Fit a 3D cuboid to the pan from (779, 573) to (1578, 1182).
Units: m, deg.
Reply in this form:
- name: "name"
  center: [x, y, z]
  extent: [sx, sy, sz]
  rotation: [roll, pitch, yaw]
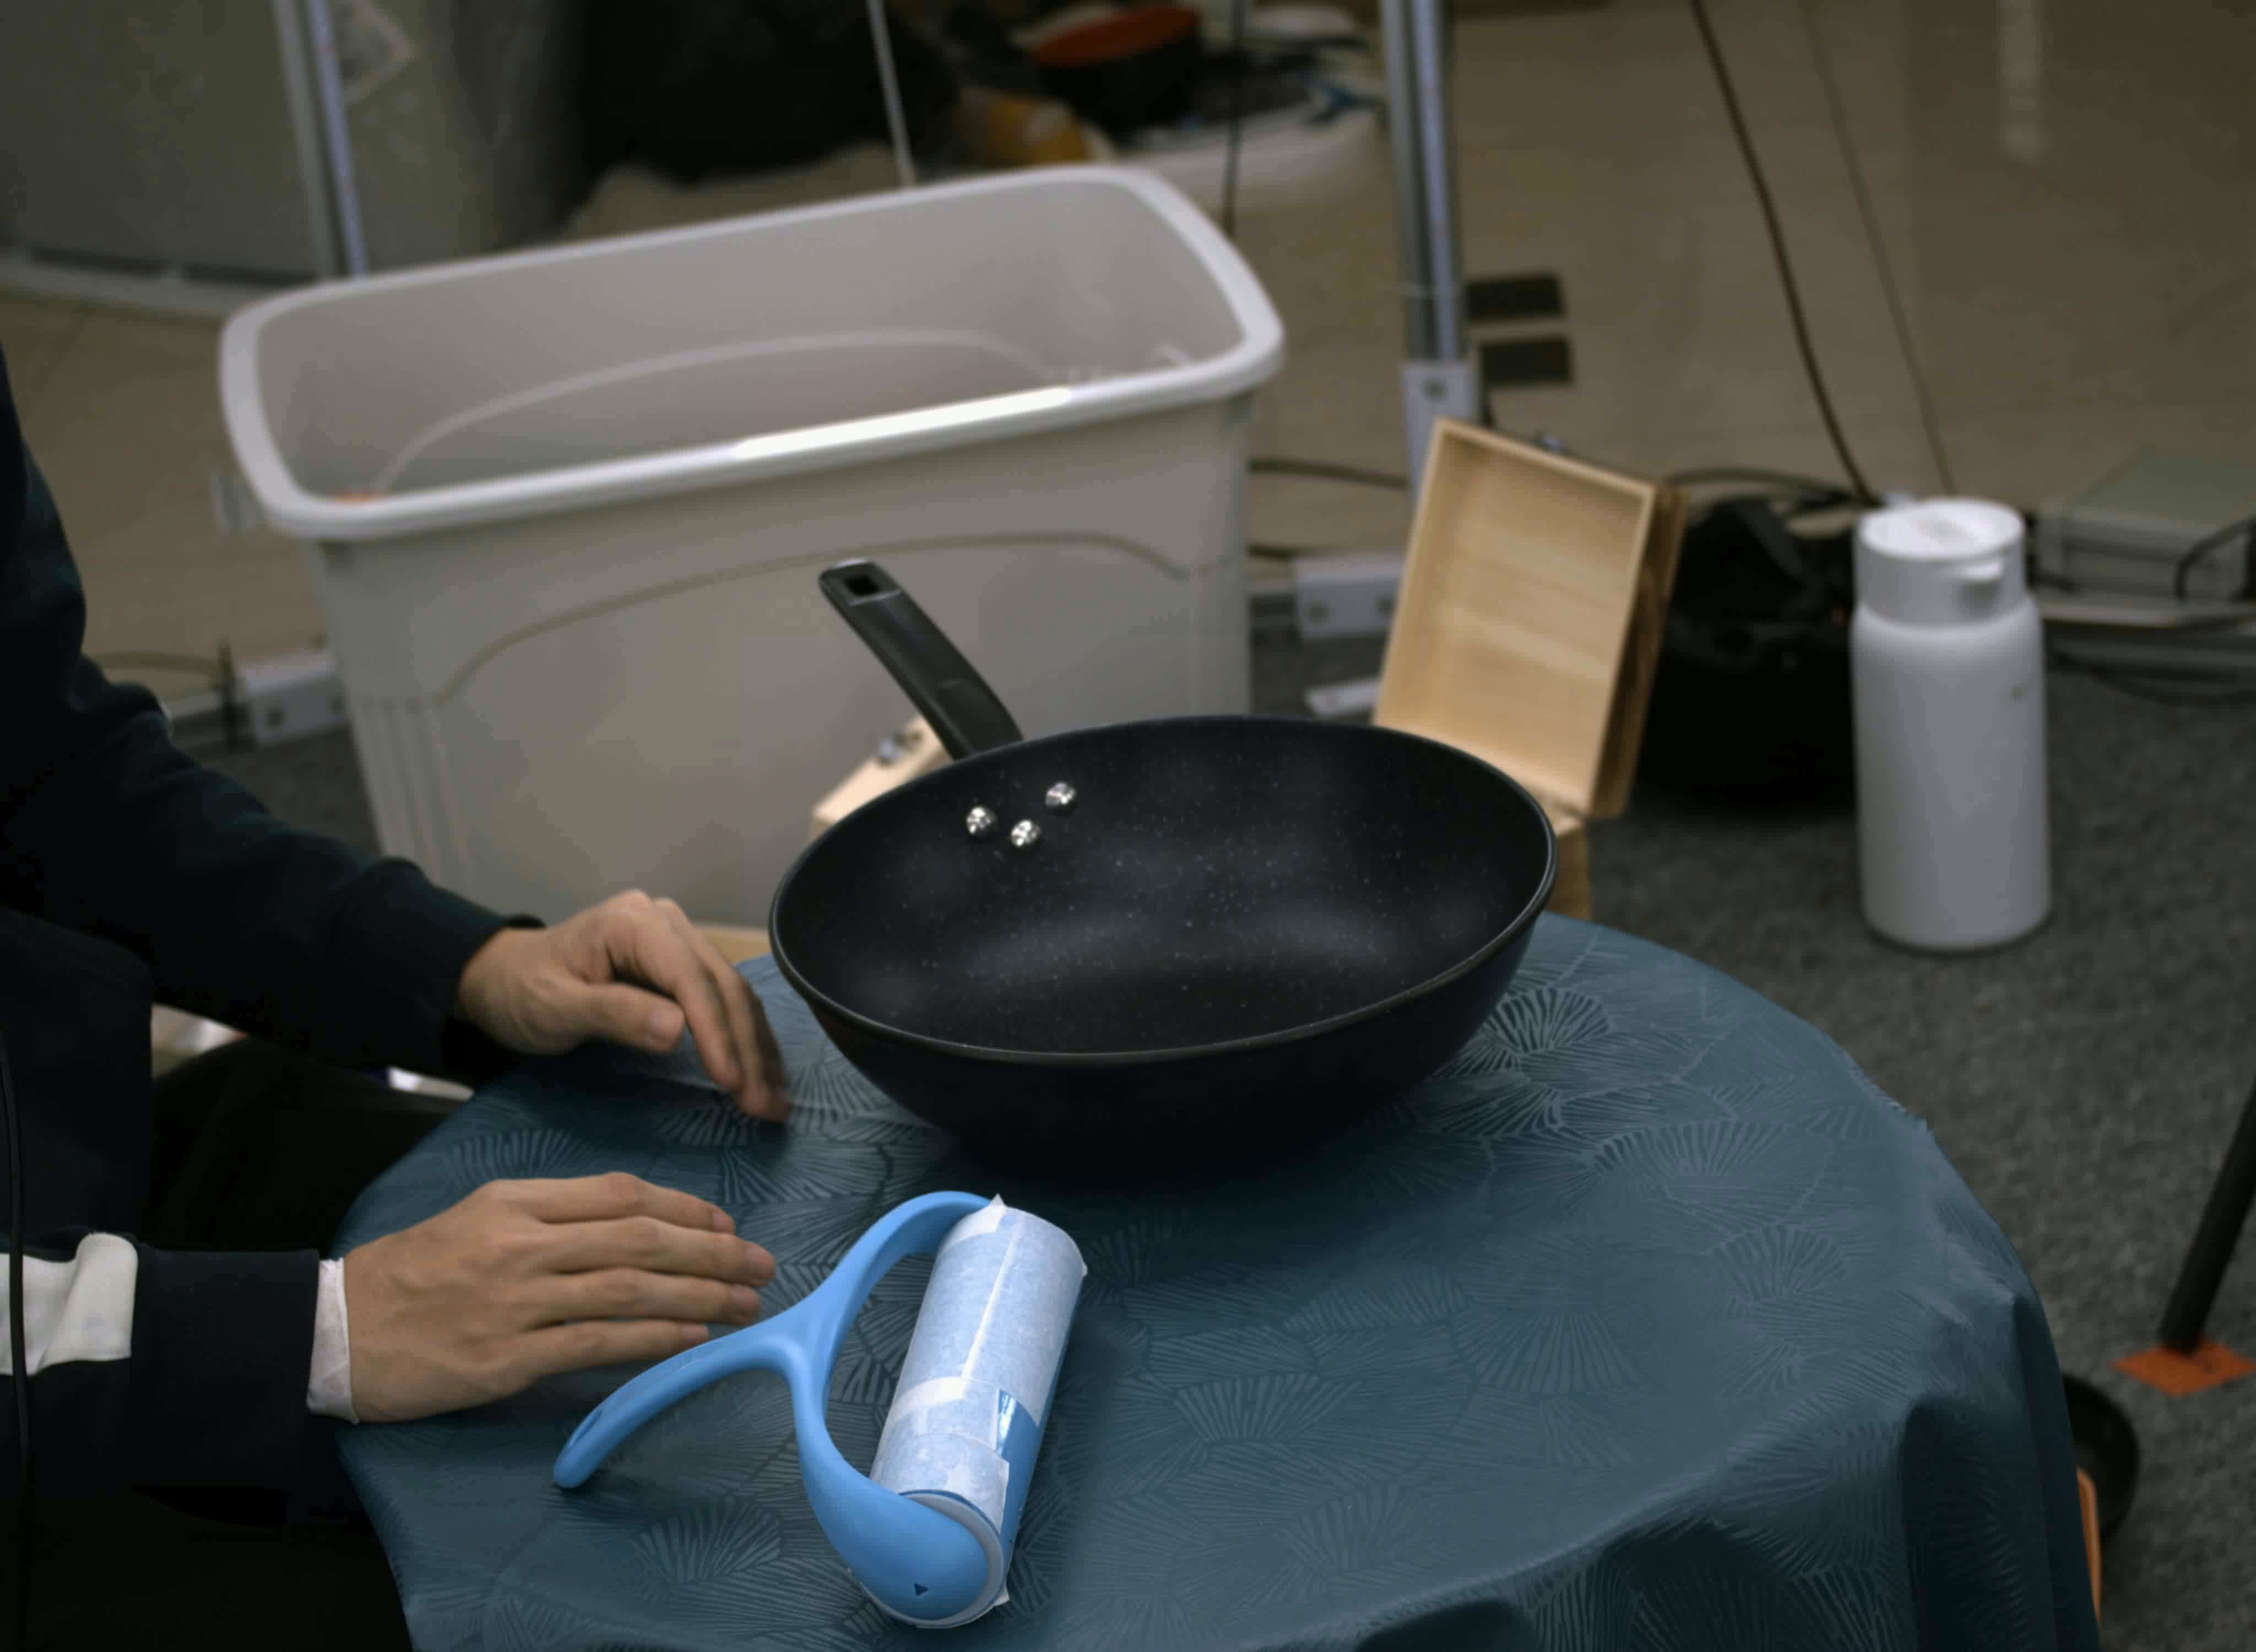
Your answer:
- name: "pan"
  center: [-0.015, 0.022, 2.271]
  extent: [0.309, 0.113, 0.471]
  rotation: [-15, 27, -21]

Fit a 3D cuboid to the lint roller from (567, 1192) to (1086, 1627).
- name: "lint roller"
  center: [-0.110, 0.203, 1.967]
  extent: [0.180, 0.069, 0.225]
  rotation: [-3, 27, 5]
